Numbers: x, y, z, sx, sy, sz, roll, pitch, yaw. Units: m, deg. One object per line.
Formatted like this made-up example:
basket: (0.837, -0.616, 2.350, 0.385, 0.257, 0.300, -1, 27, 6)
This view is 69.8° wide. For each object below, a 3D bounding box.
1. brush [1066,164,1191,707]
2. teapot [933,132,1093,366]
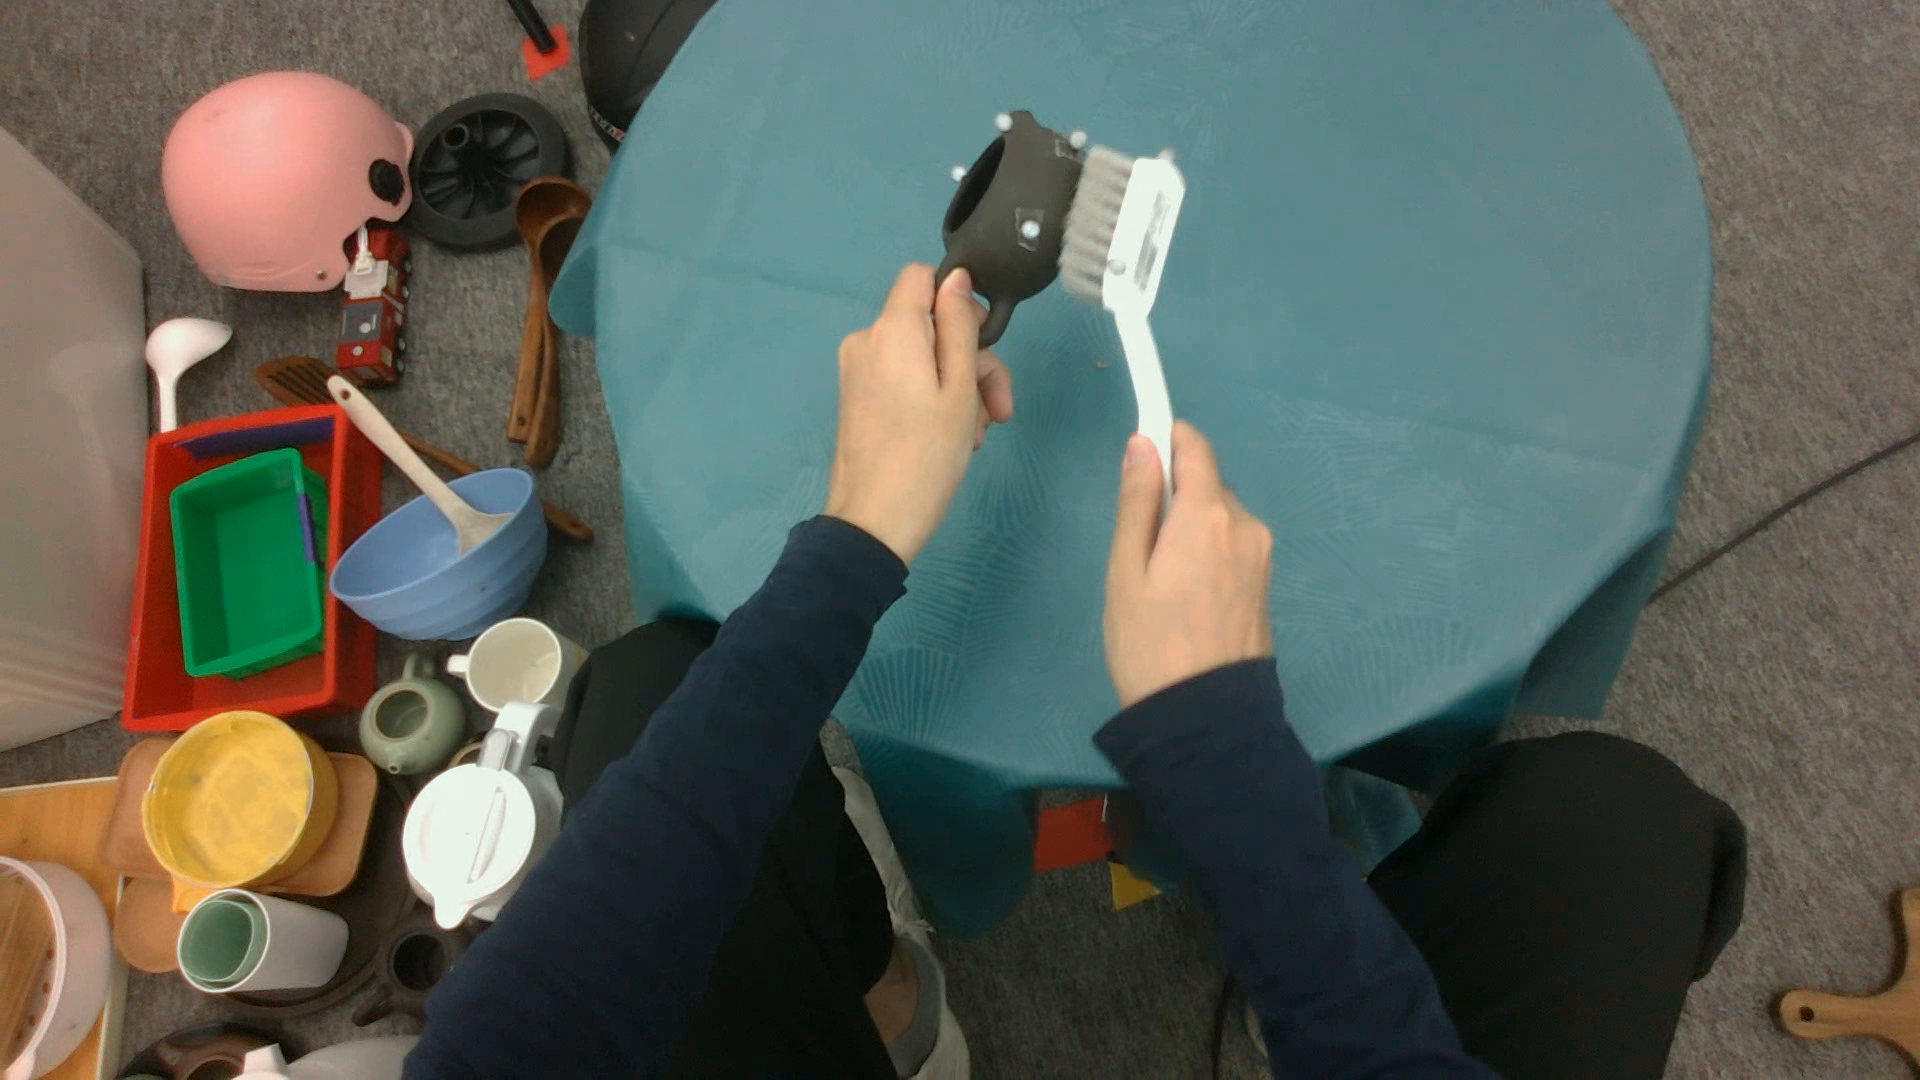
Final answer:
brush: (0.074, -0.048, 0.610, 0.050, 0.034, 0.244, -4, 81, 24)
teapot: (0.021, -0.135, 0.653, 0.053, 0.083, 0.114, 29, 78, -20)
